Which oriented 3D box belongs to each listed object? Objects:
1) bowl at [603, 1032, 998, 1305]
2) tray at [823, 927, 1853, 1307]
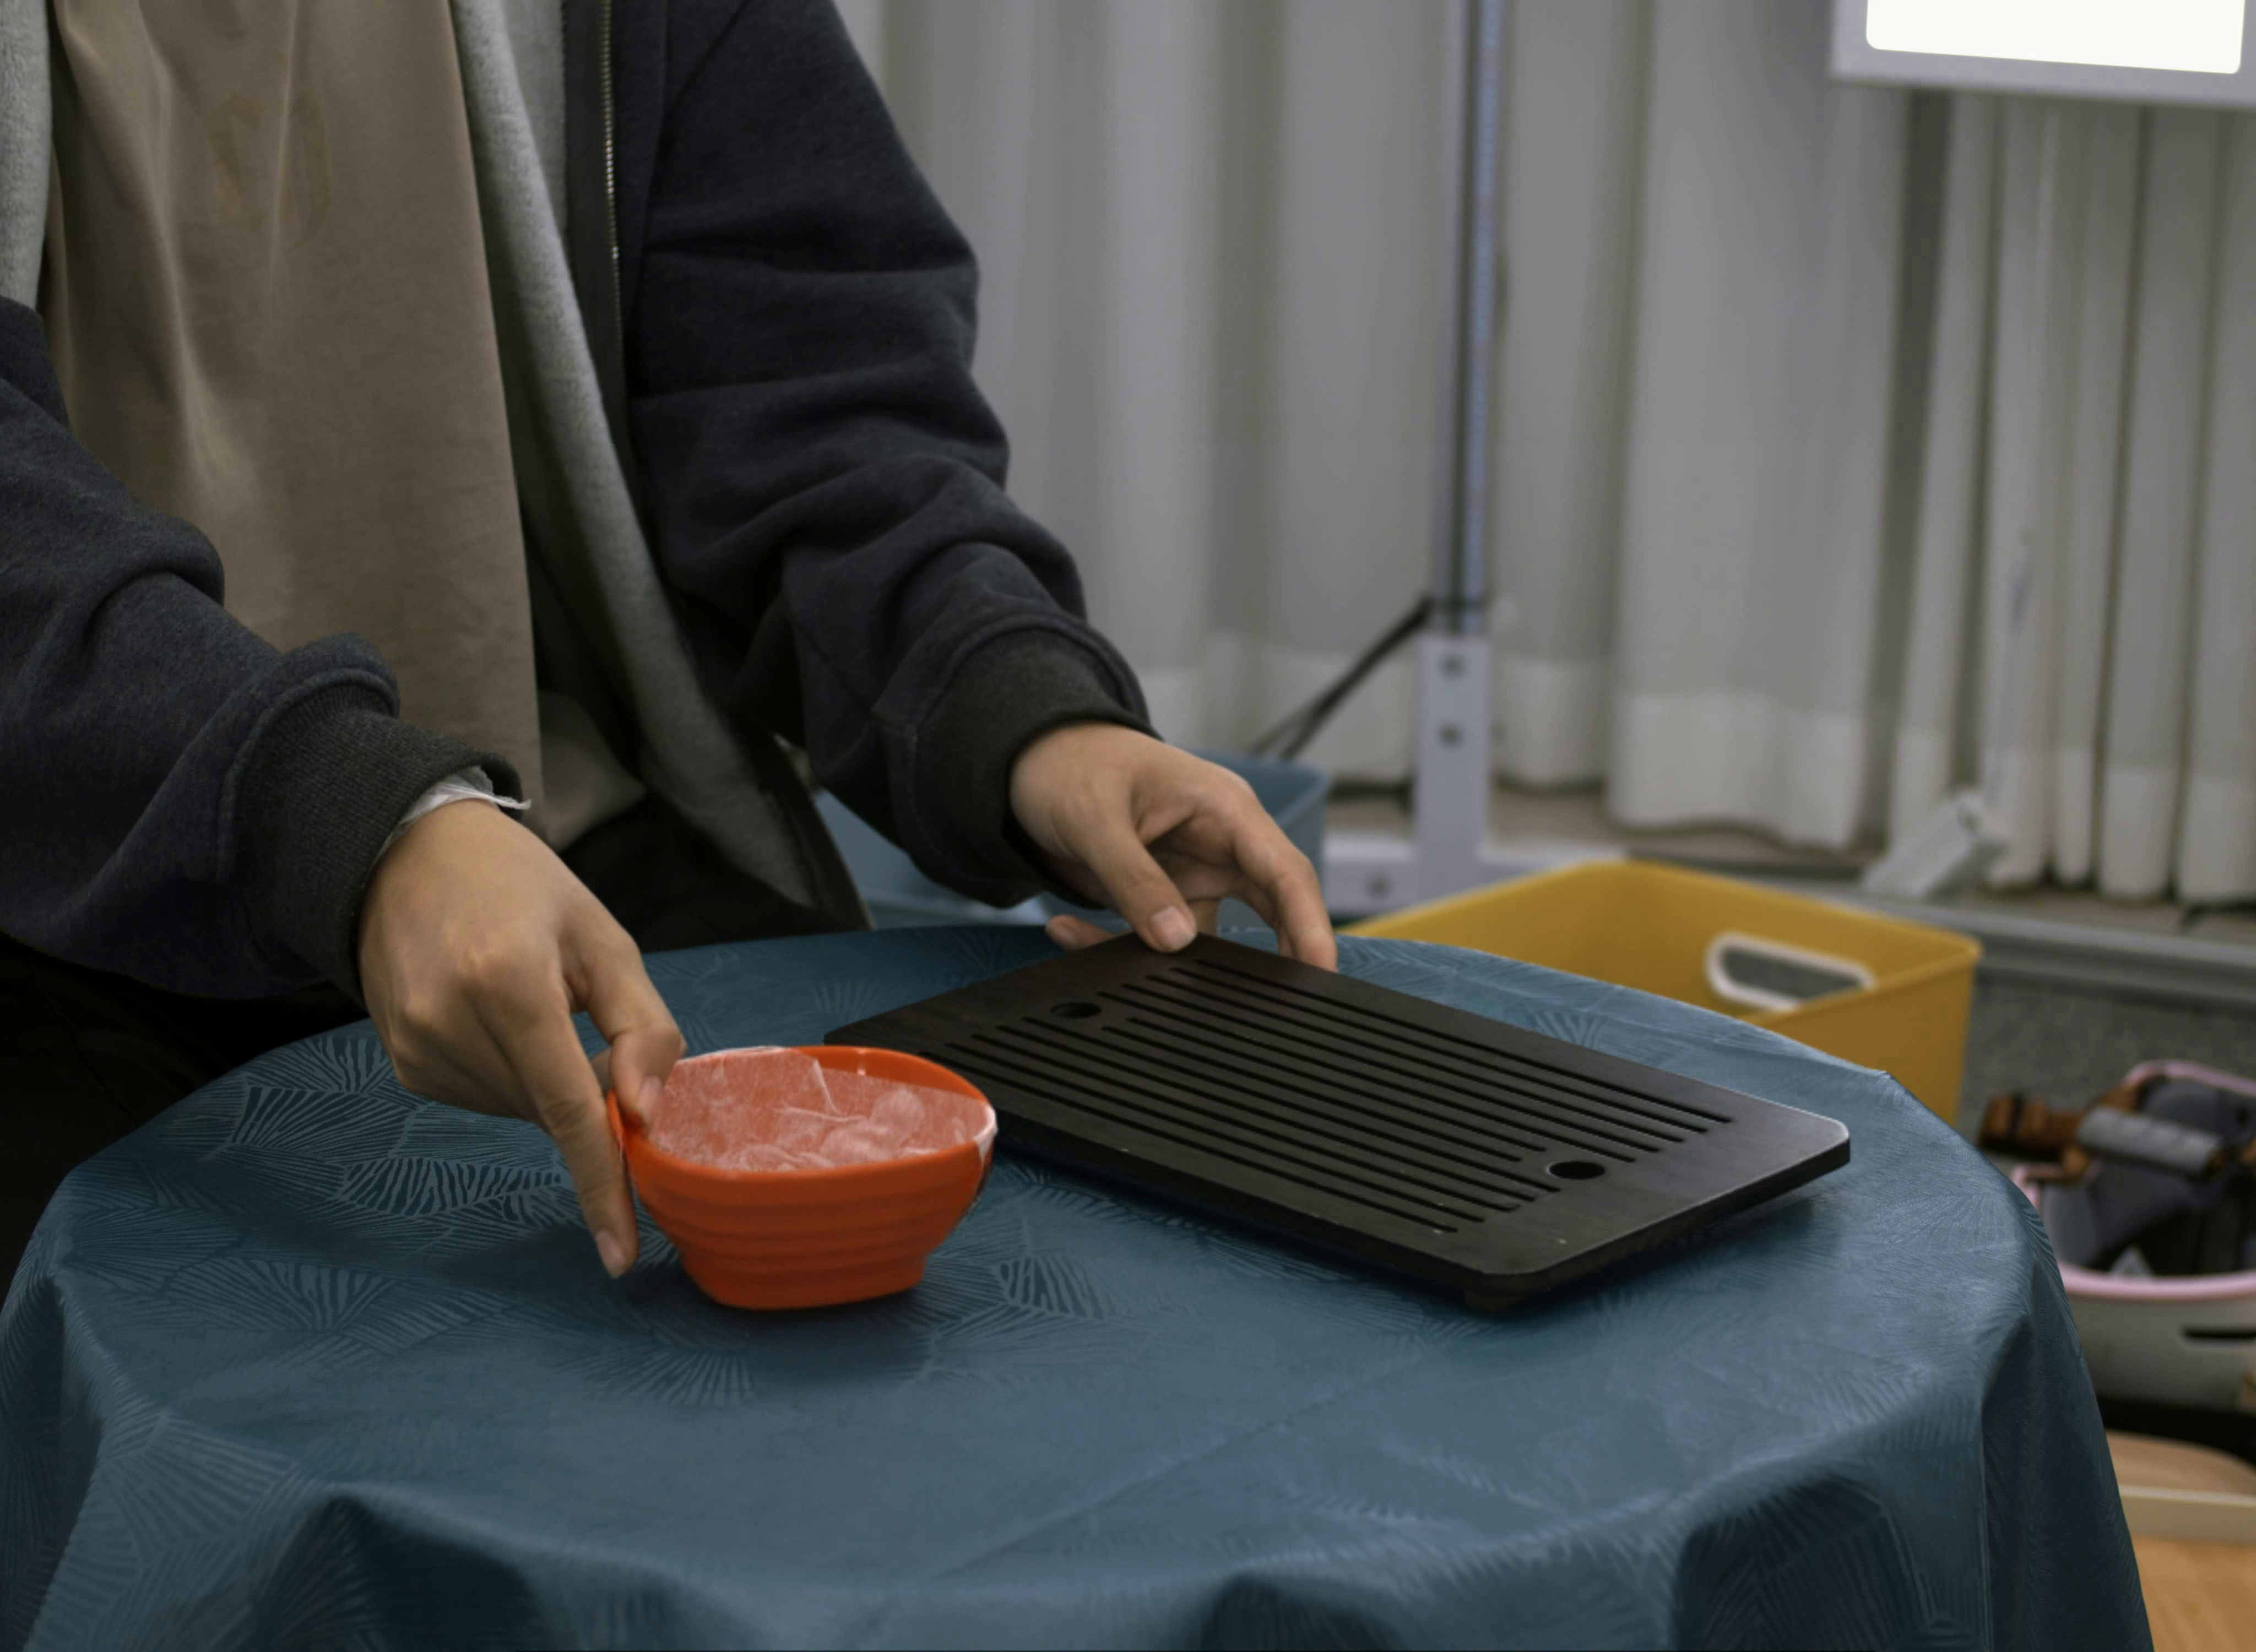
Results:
[{"bbox_3d":[-0.096,0.102,1.534,0.118,0.052,0.118,1,18,0],"label":"bowl"},{"bbox_3d":[0.062,0.088,1.665,0.302,0.019,0.171,15,23,42],"label":"tray"}]
